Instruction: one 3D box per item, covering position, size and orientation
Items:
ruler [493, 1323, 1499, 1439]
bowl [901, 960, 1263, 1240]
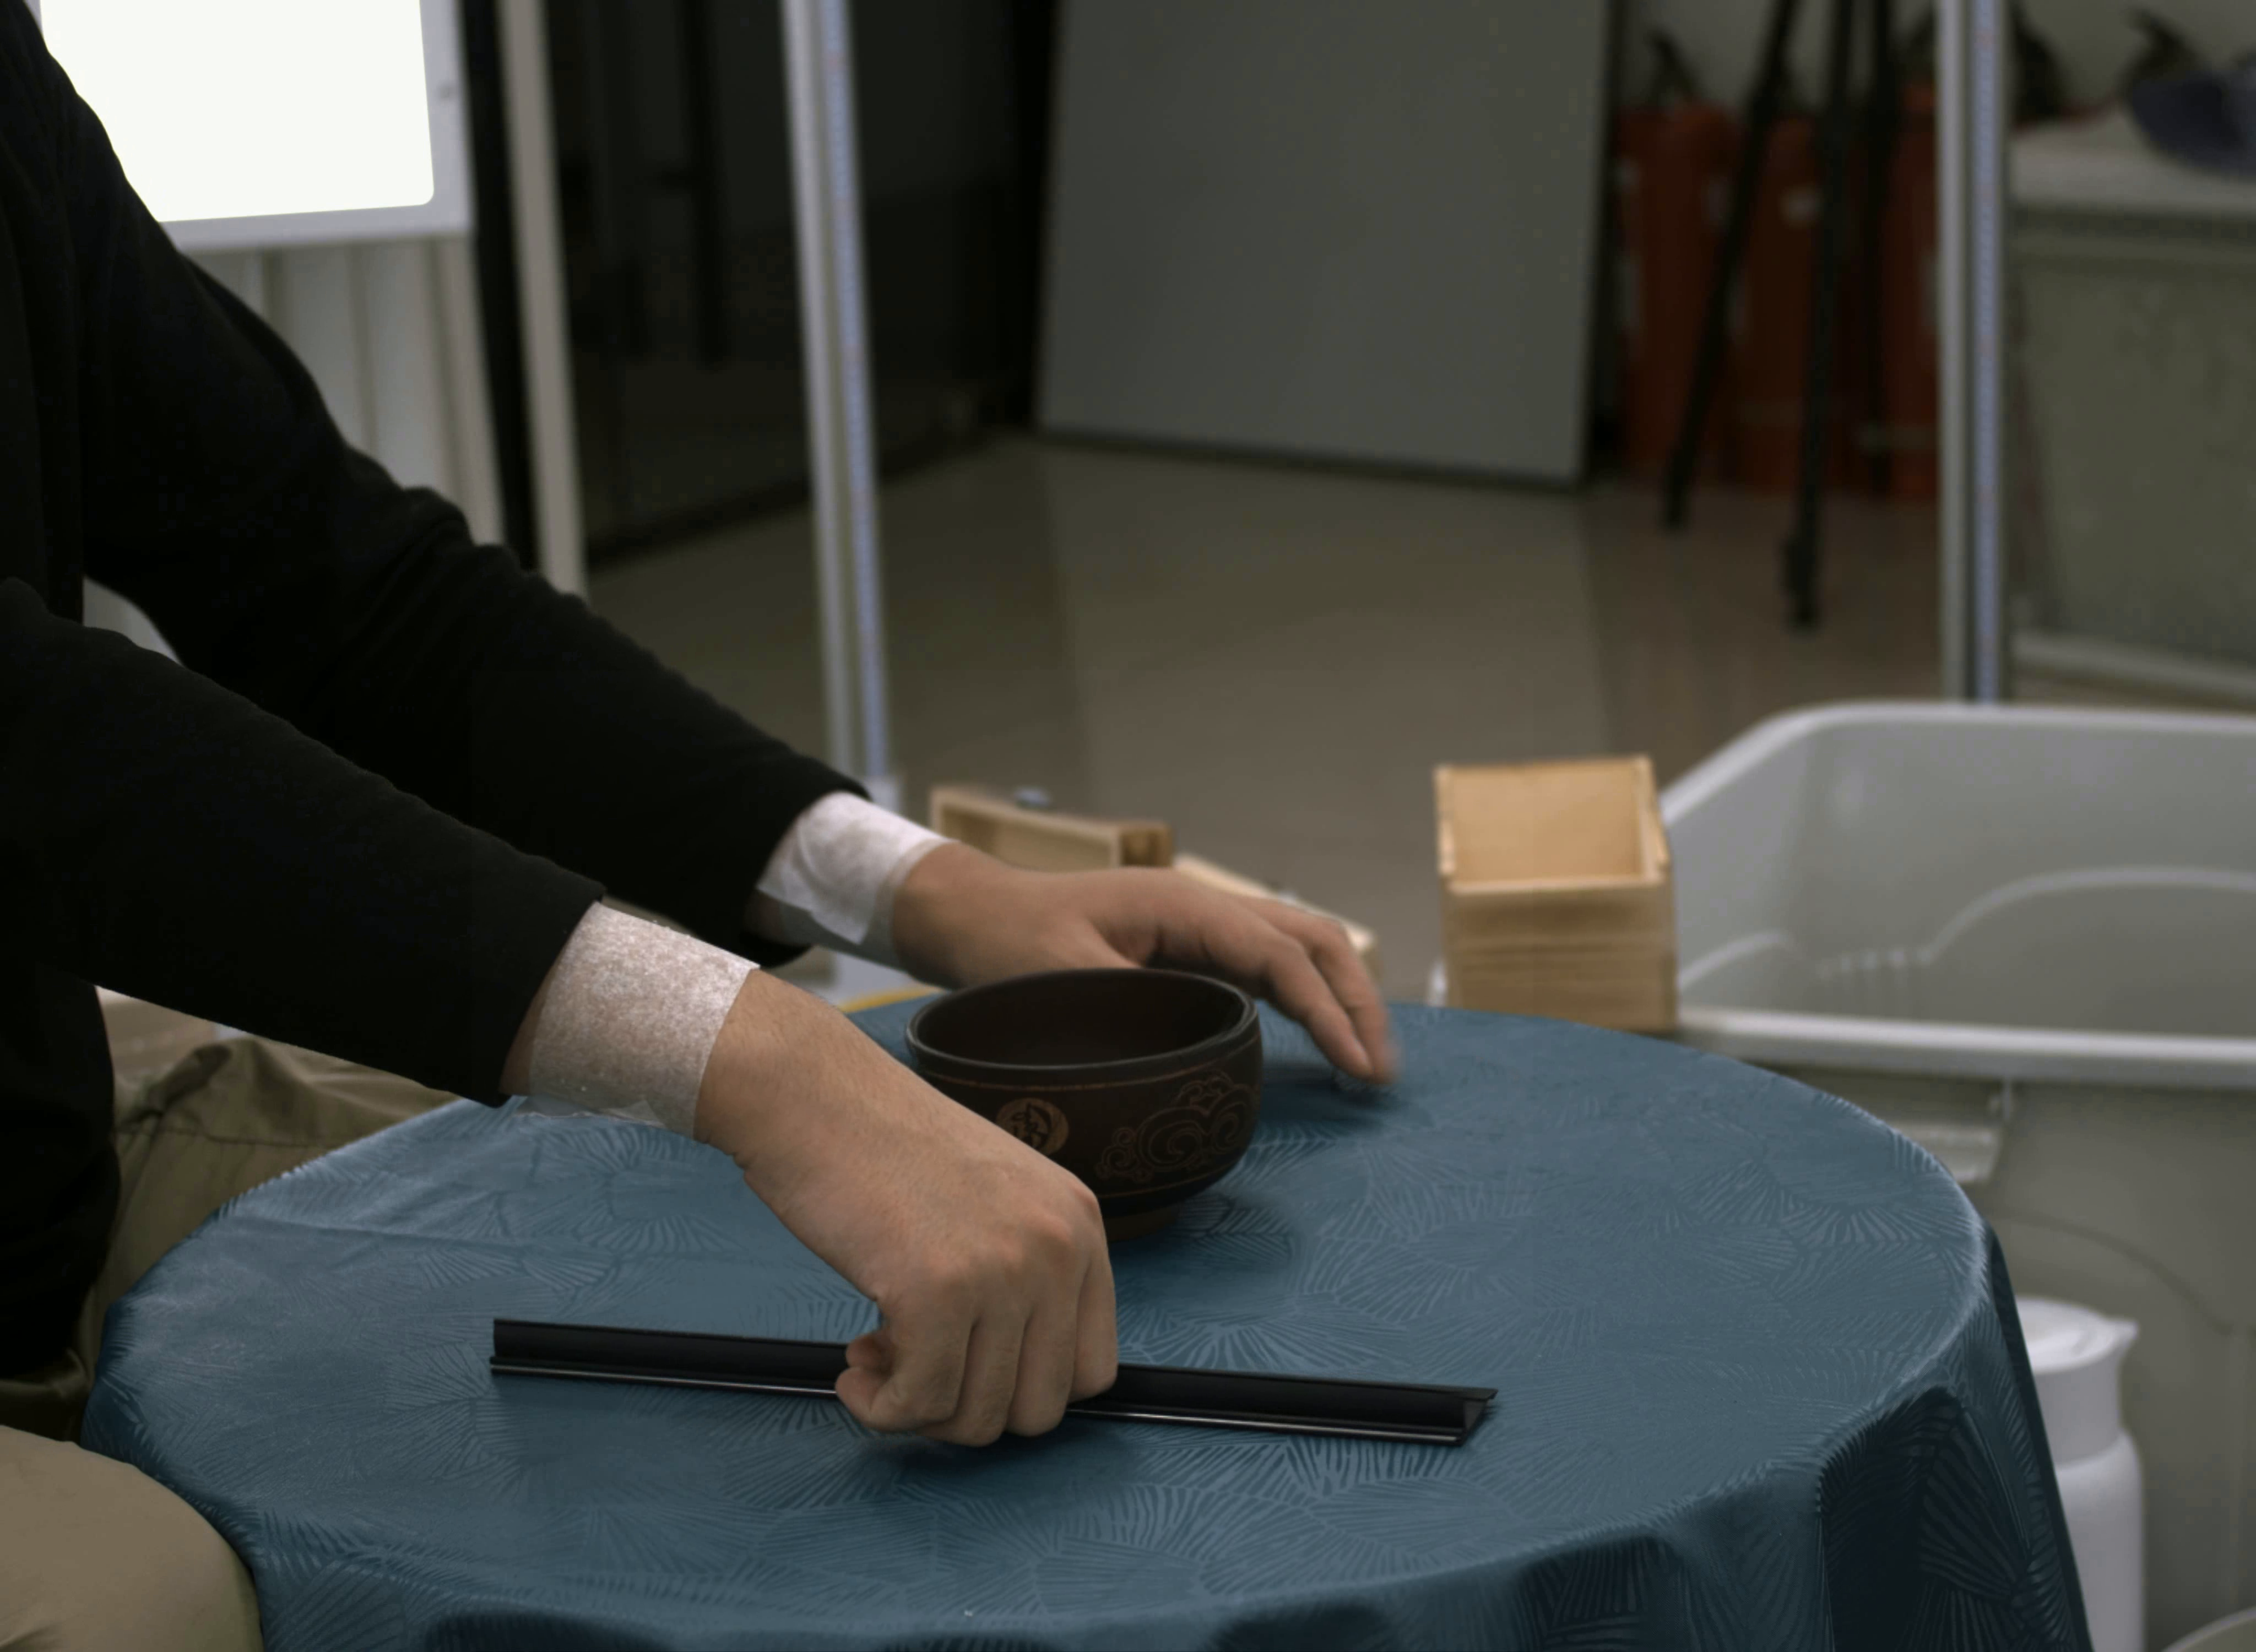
[{"bbox_3d":[-0.042,0.158,1.595,0.312,0.017,0.039,1,14,22],"label":"ruler"},{"bbox_3d":[-0.014,0.092,1.739,0.116,0.070,0.118,-3,13,0],"label":"bowl"}]
